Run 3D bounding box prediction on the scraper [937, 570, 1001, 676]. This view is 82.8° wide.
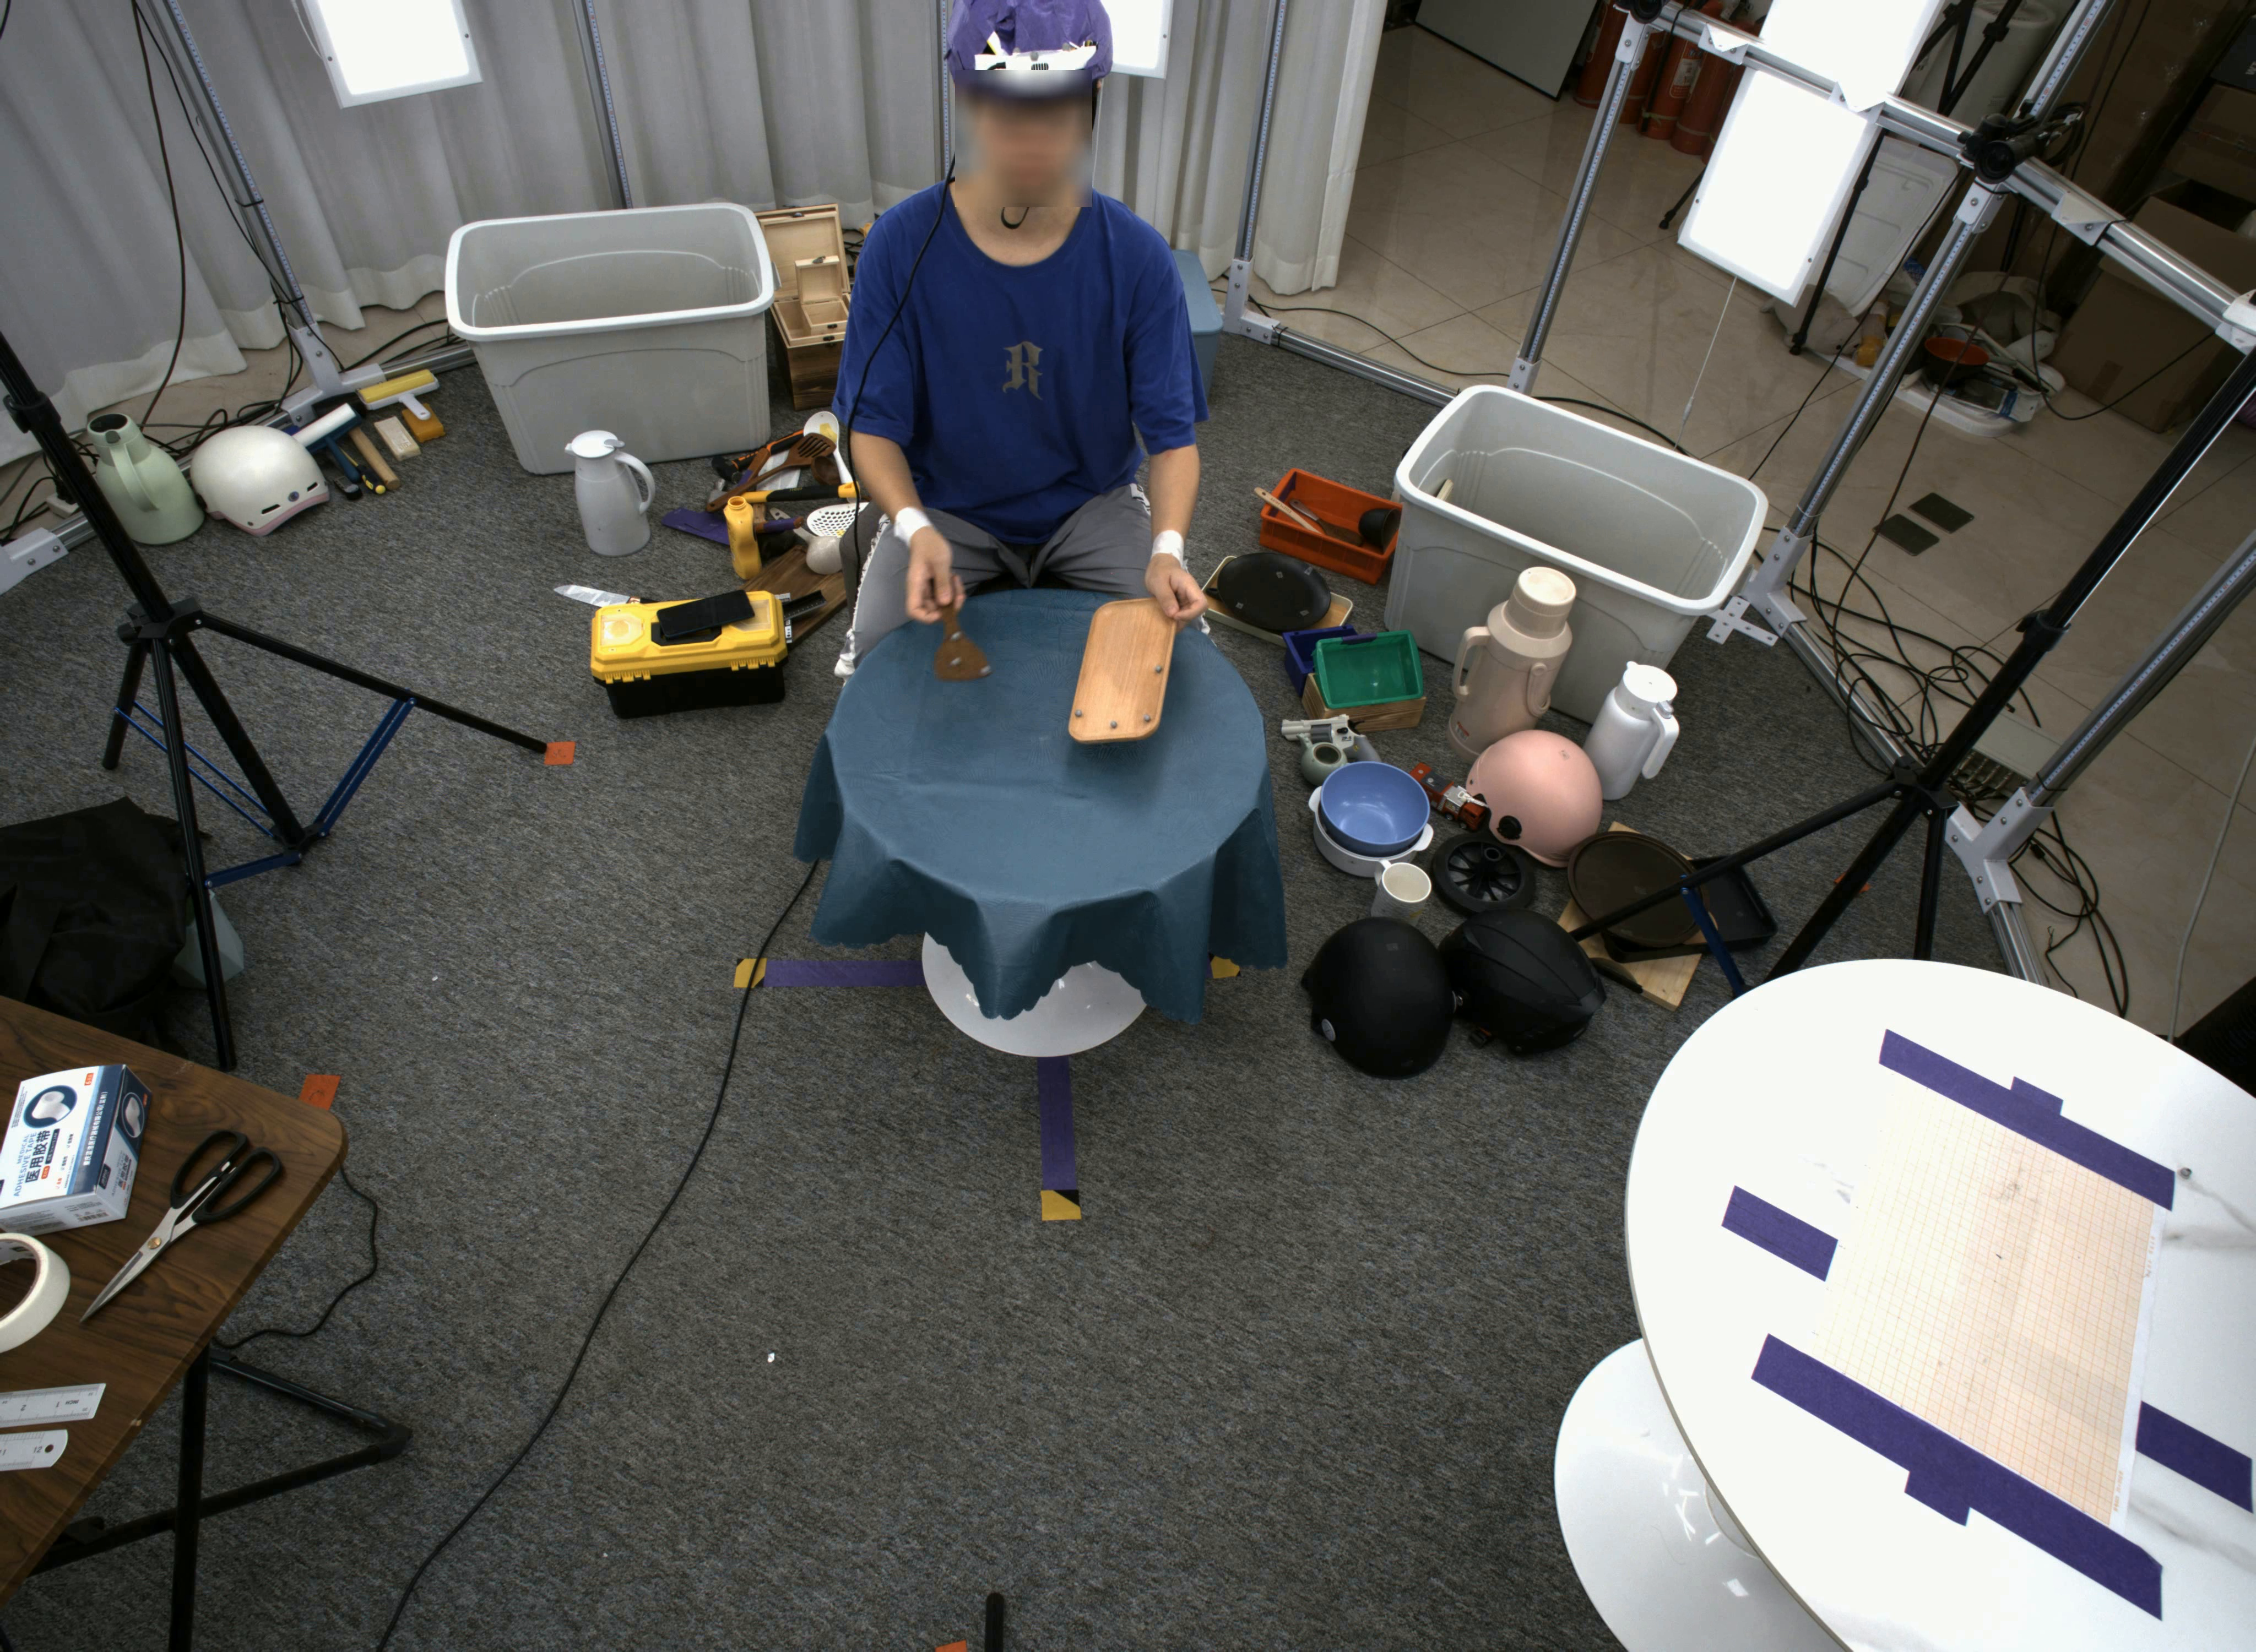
[{"bbox_3d":[-0.230,-0.279,1.760,0.075,0.010,0.216,-5,51,-17],"label":"scraper"}]

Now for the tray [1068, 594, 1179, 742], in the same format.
[{"bbox_3d":[-0.004,-0.218,1.761,0.131,0.022,0.256,-1,54,19],"label":"tray"}]
